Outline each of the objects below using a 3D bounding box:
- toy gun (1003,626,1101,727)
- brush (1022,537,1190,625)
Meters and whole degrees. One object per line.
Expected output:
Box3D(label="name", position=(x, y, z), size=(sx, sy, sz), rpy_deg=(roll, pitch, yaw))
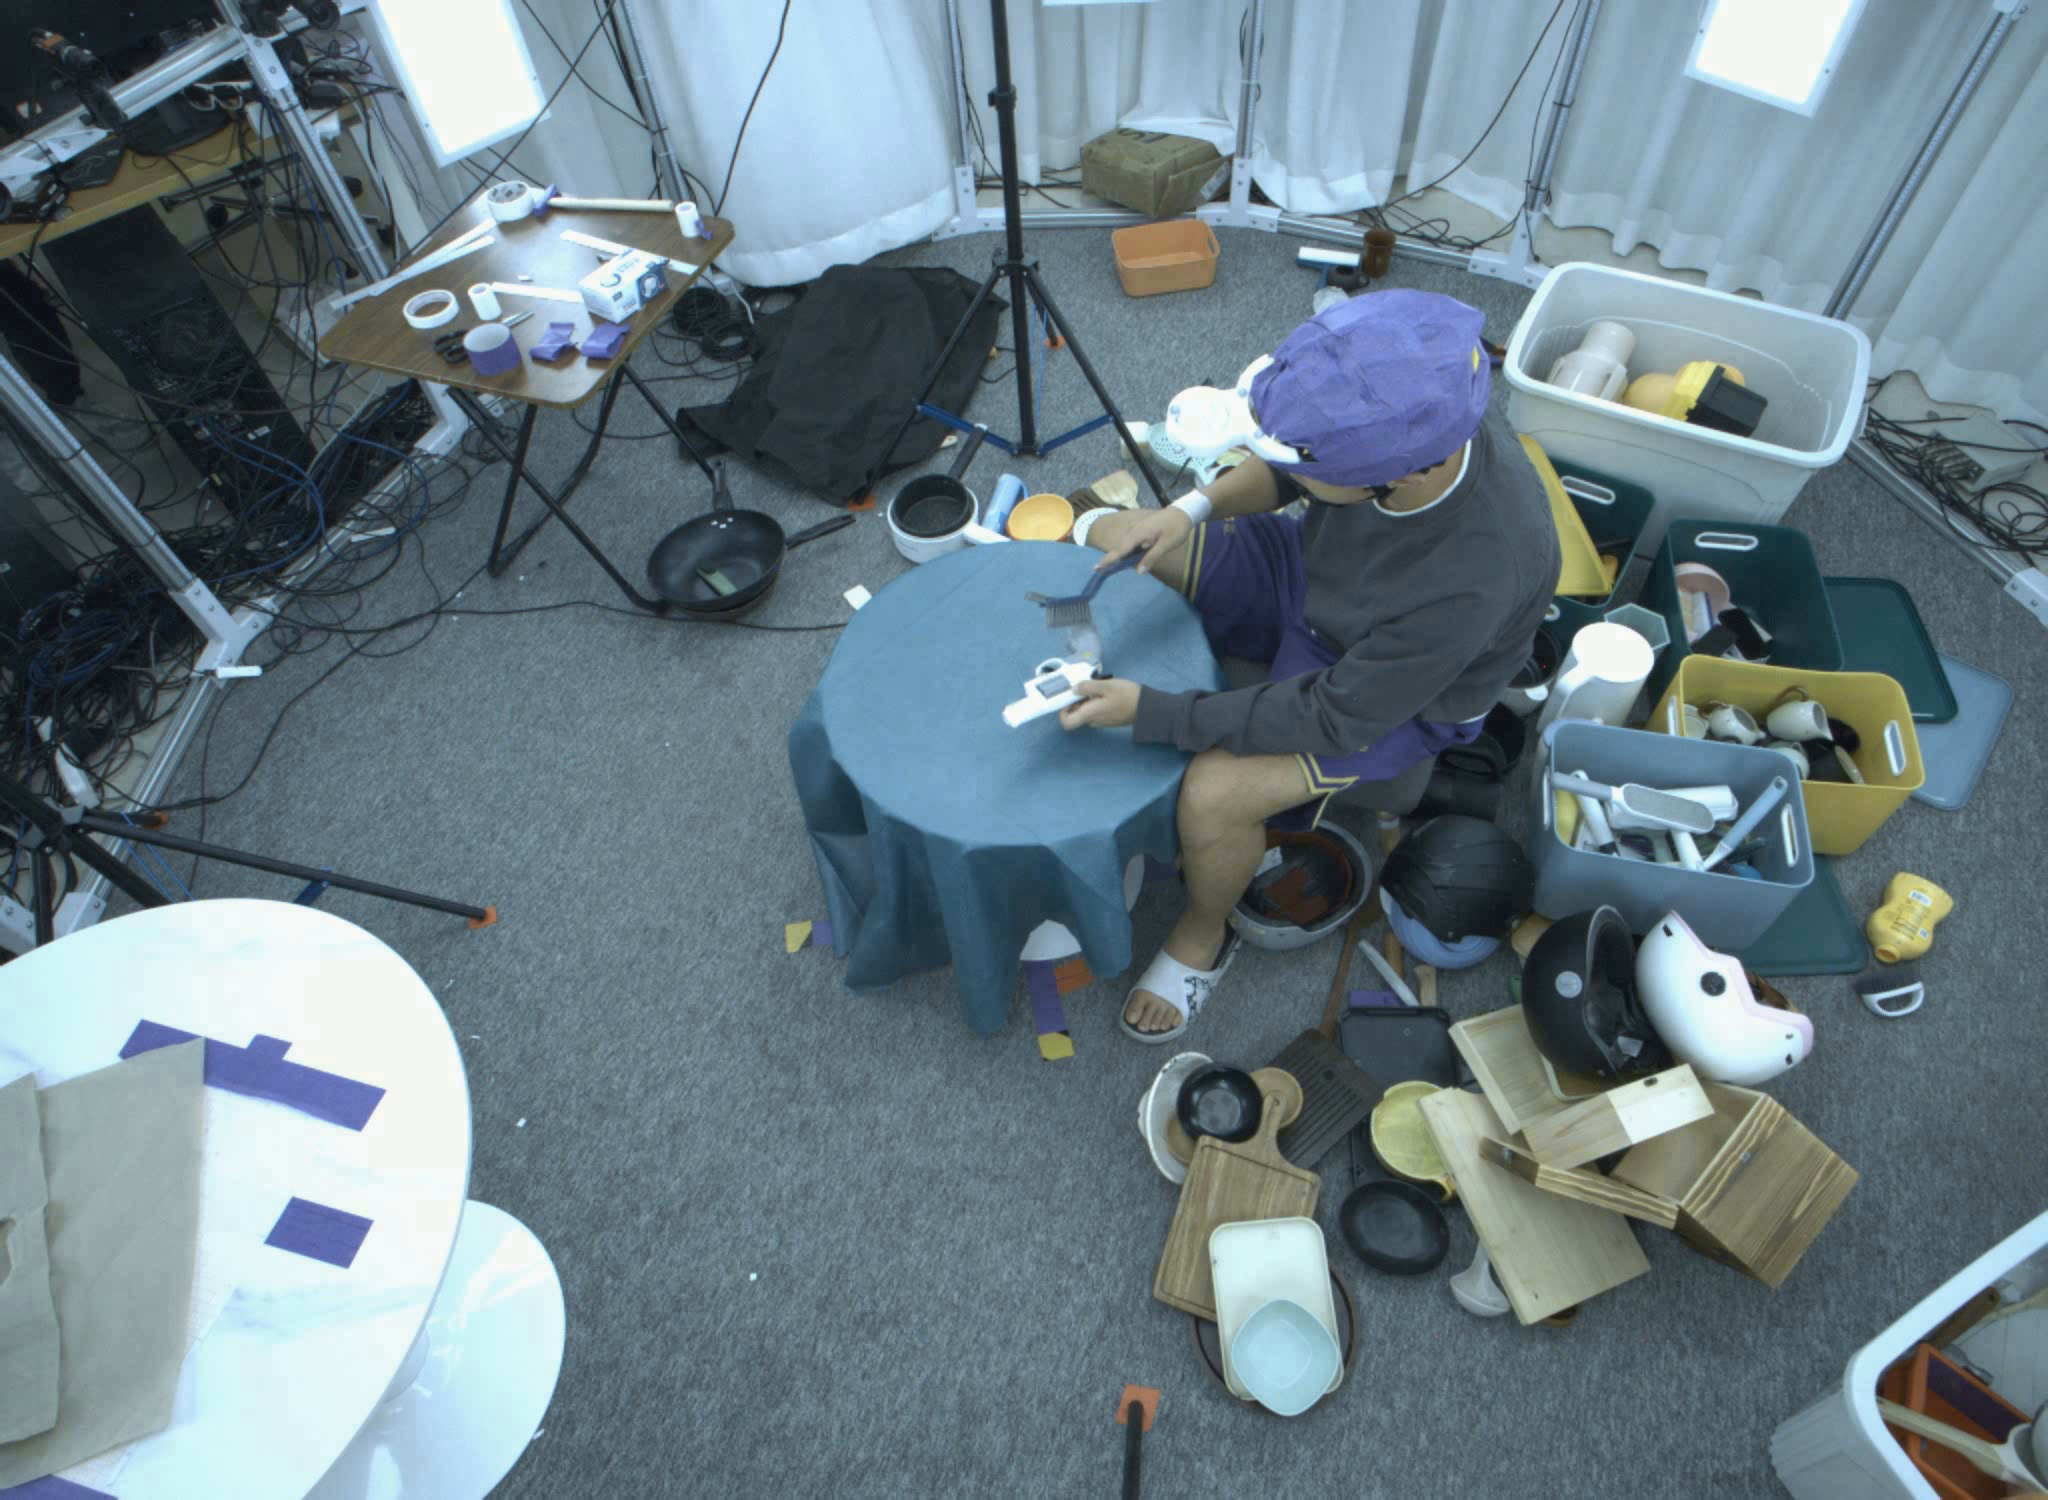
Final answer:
Box3D(label="toy gun", position=(0.042, -0.107, 1.780), size=(0.211, 0.039, 0.138), rpy_deg=(-24, 42, -19))
Box3D(label="brush", position=(0.126, -0.270, 1.823), size=(0.275, 0.033, 0.097), rpy_deg=(-37, 107, -19))
